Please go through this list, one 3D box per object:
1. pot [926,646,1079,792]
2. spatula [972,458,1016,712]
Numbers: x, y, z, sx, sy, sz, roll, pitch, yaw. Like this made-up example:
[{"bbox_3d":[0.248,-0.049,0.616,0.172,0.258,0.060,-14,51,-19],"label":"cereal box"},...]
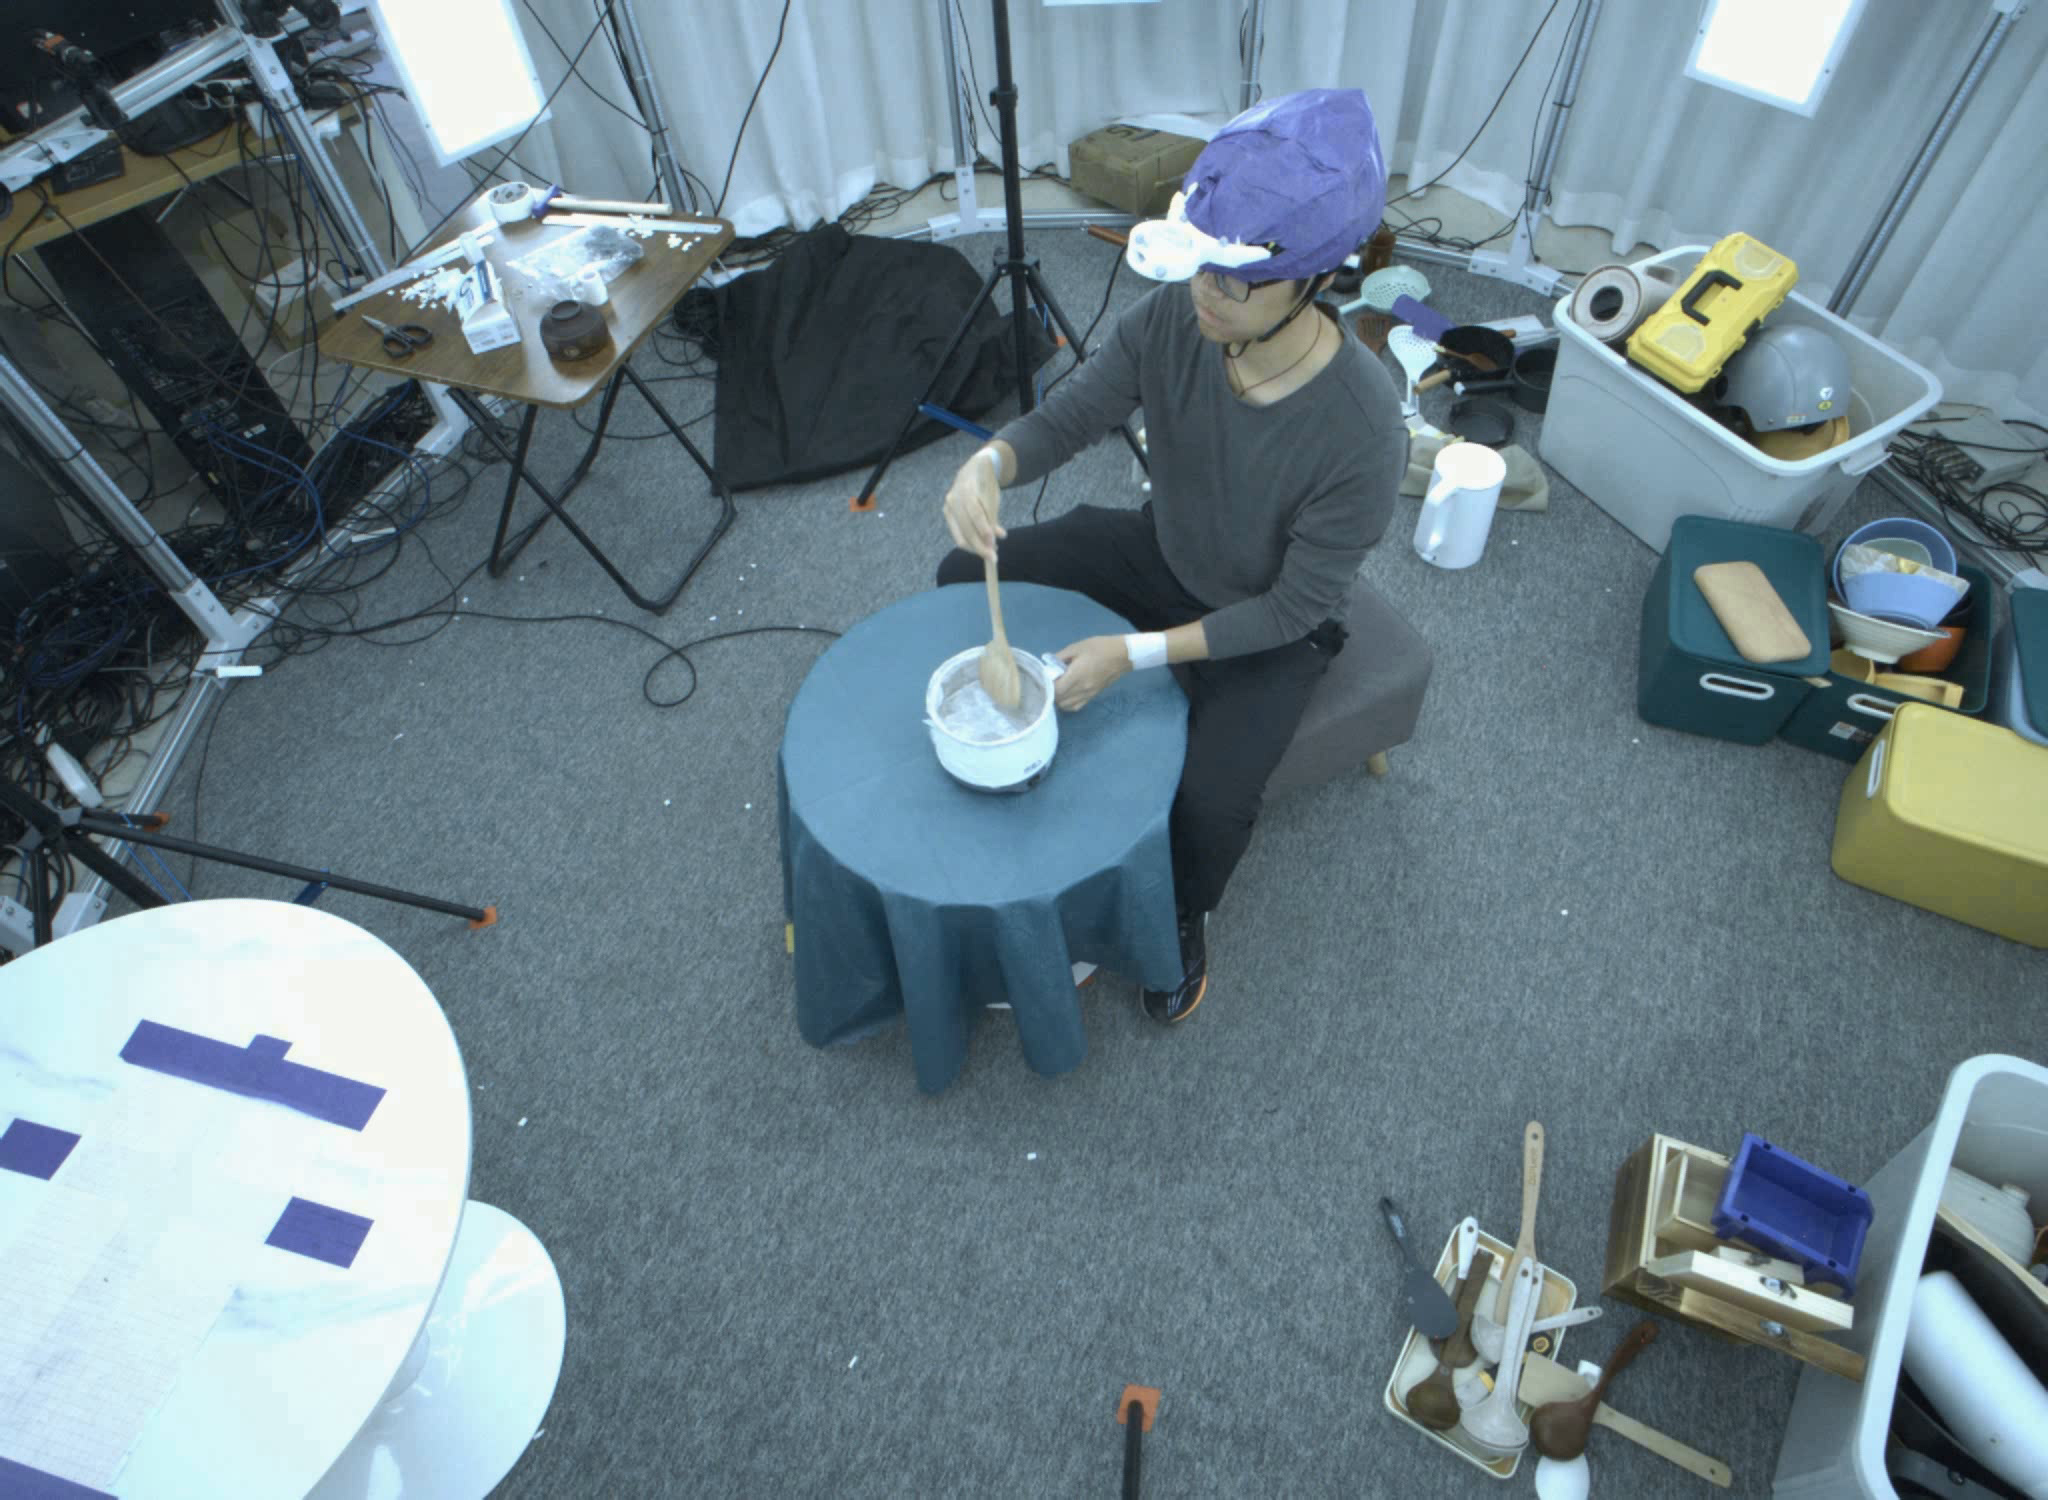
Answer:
[{"bbox_3d":[-0.021,-0.054,1.751,0.235,0.138,0.175,-34,60,-21],"label":"pot"},{"bbox_3d":[-0.045,-0.213,1.623,0.018,0.395,0.093,-30,49,-26],"label":"spatula"}]
